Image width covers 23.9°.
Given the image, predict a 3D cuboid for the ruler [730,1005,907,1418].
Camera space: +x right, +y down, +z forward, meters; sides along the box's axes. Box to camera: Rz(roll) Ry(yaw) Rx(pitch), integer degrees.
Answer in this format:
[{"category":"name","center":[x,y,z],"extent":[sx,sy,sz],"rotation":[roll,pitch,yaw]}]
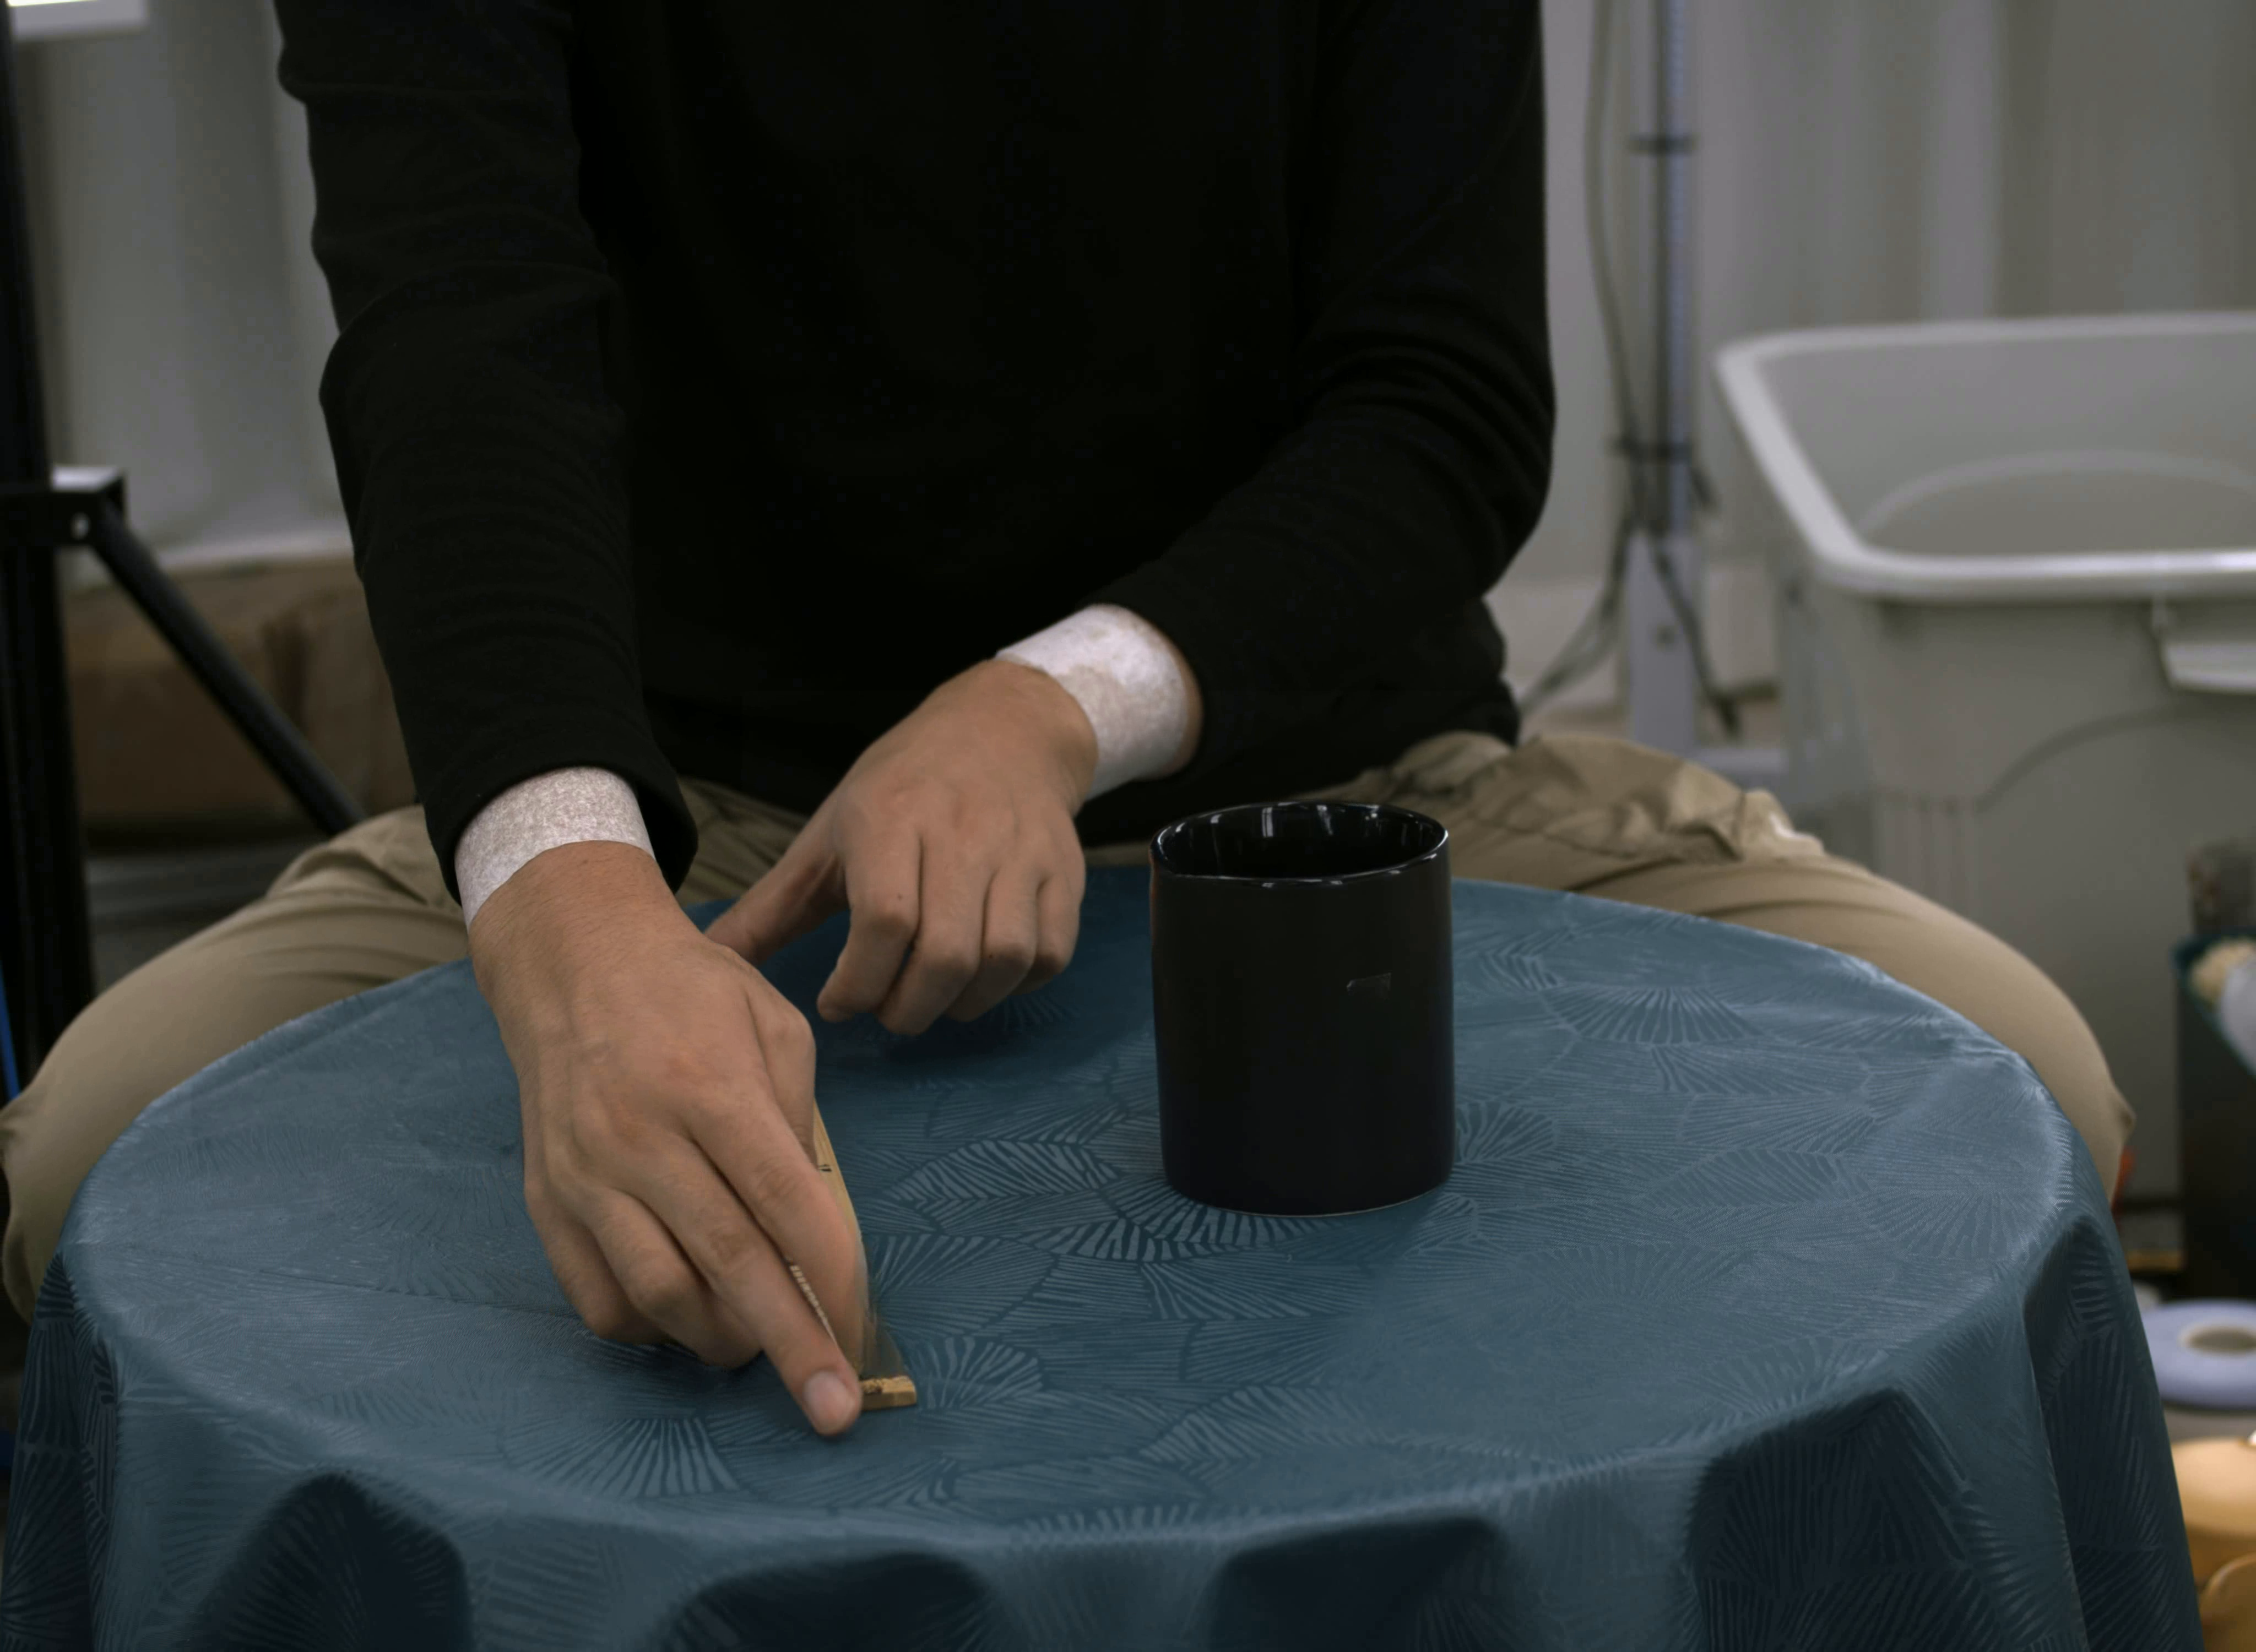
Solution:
[{"category":"ruler","center":[-0.094,0.106,1.563],"extent":[0.027,0.022,0.335],"rotation":[-1,16,-8]}]

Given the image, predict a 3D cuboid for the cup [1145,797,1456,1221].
[{"category":"cup","center":[0.049,0.049,1.573],"extent":[0.088,0.105,0.125],"rotation":[-5,15,-5]}]
